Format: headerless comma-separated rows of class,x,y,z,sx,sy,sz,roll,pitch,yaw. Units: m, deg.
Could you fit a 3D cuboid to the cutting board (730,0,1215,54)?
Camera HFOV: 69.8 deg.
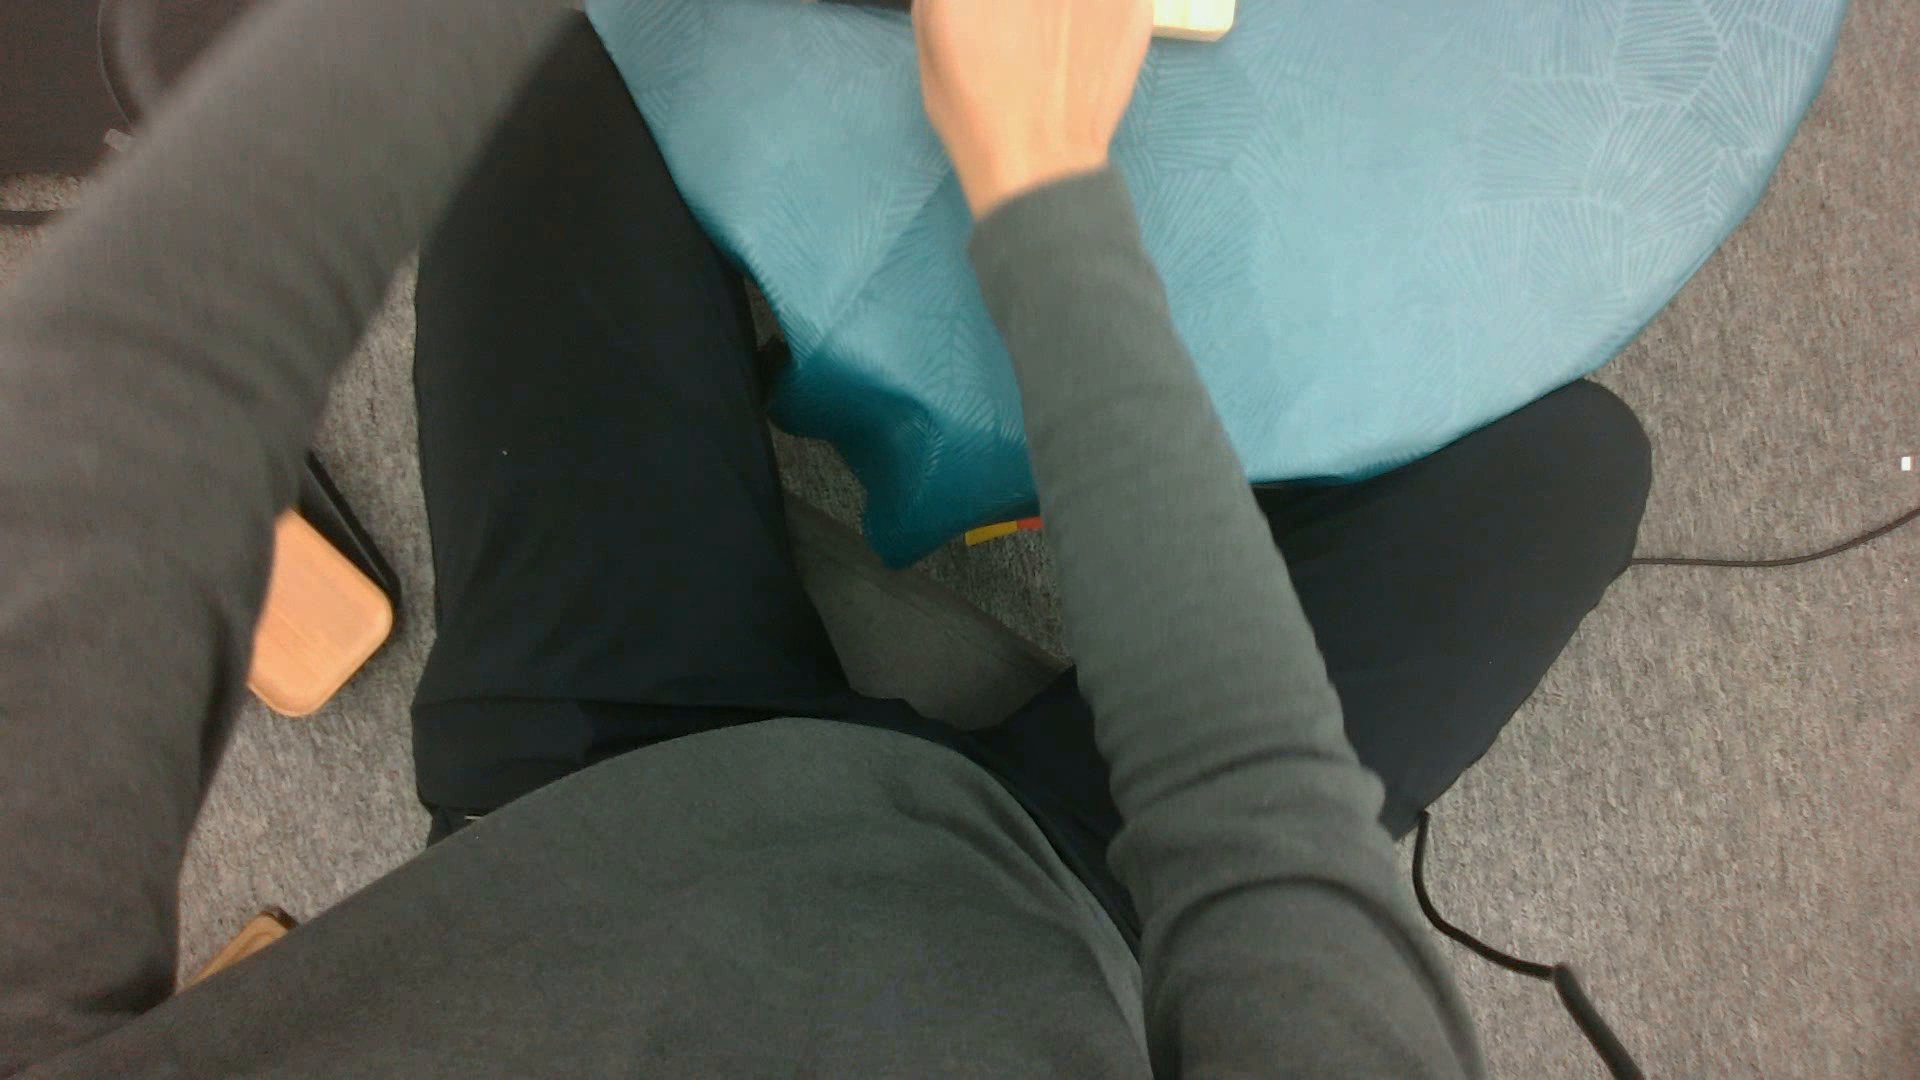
cutting board,0.003,-0.395,0.581,0.251,0.023,0.348,3,96,-6
